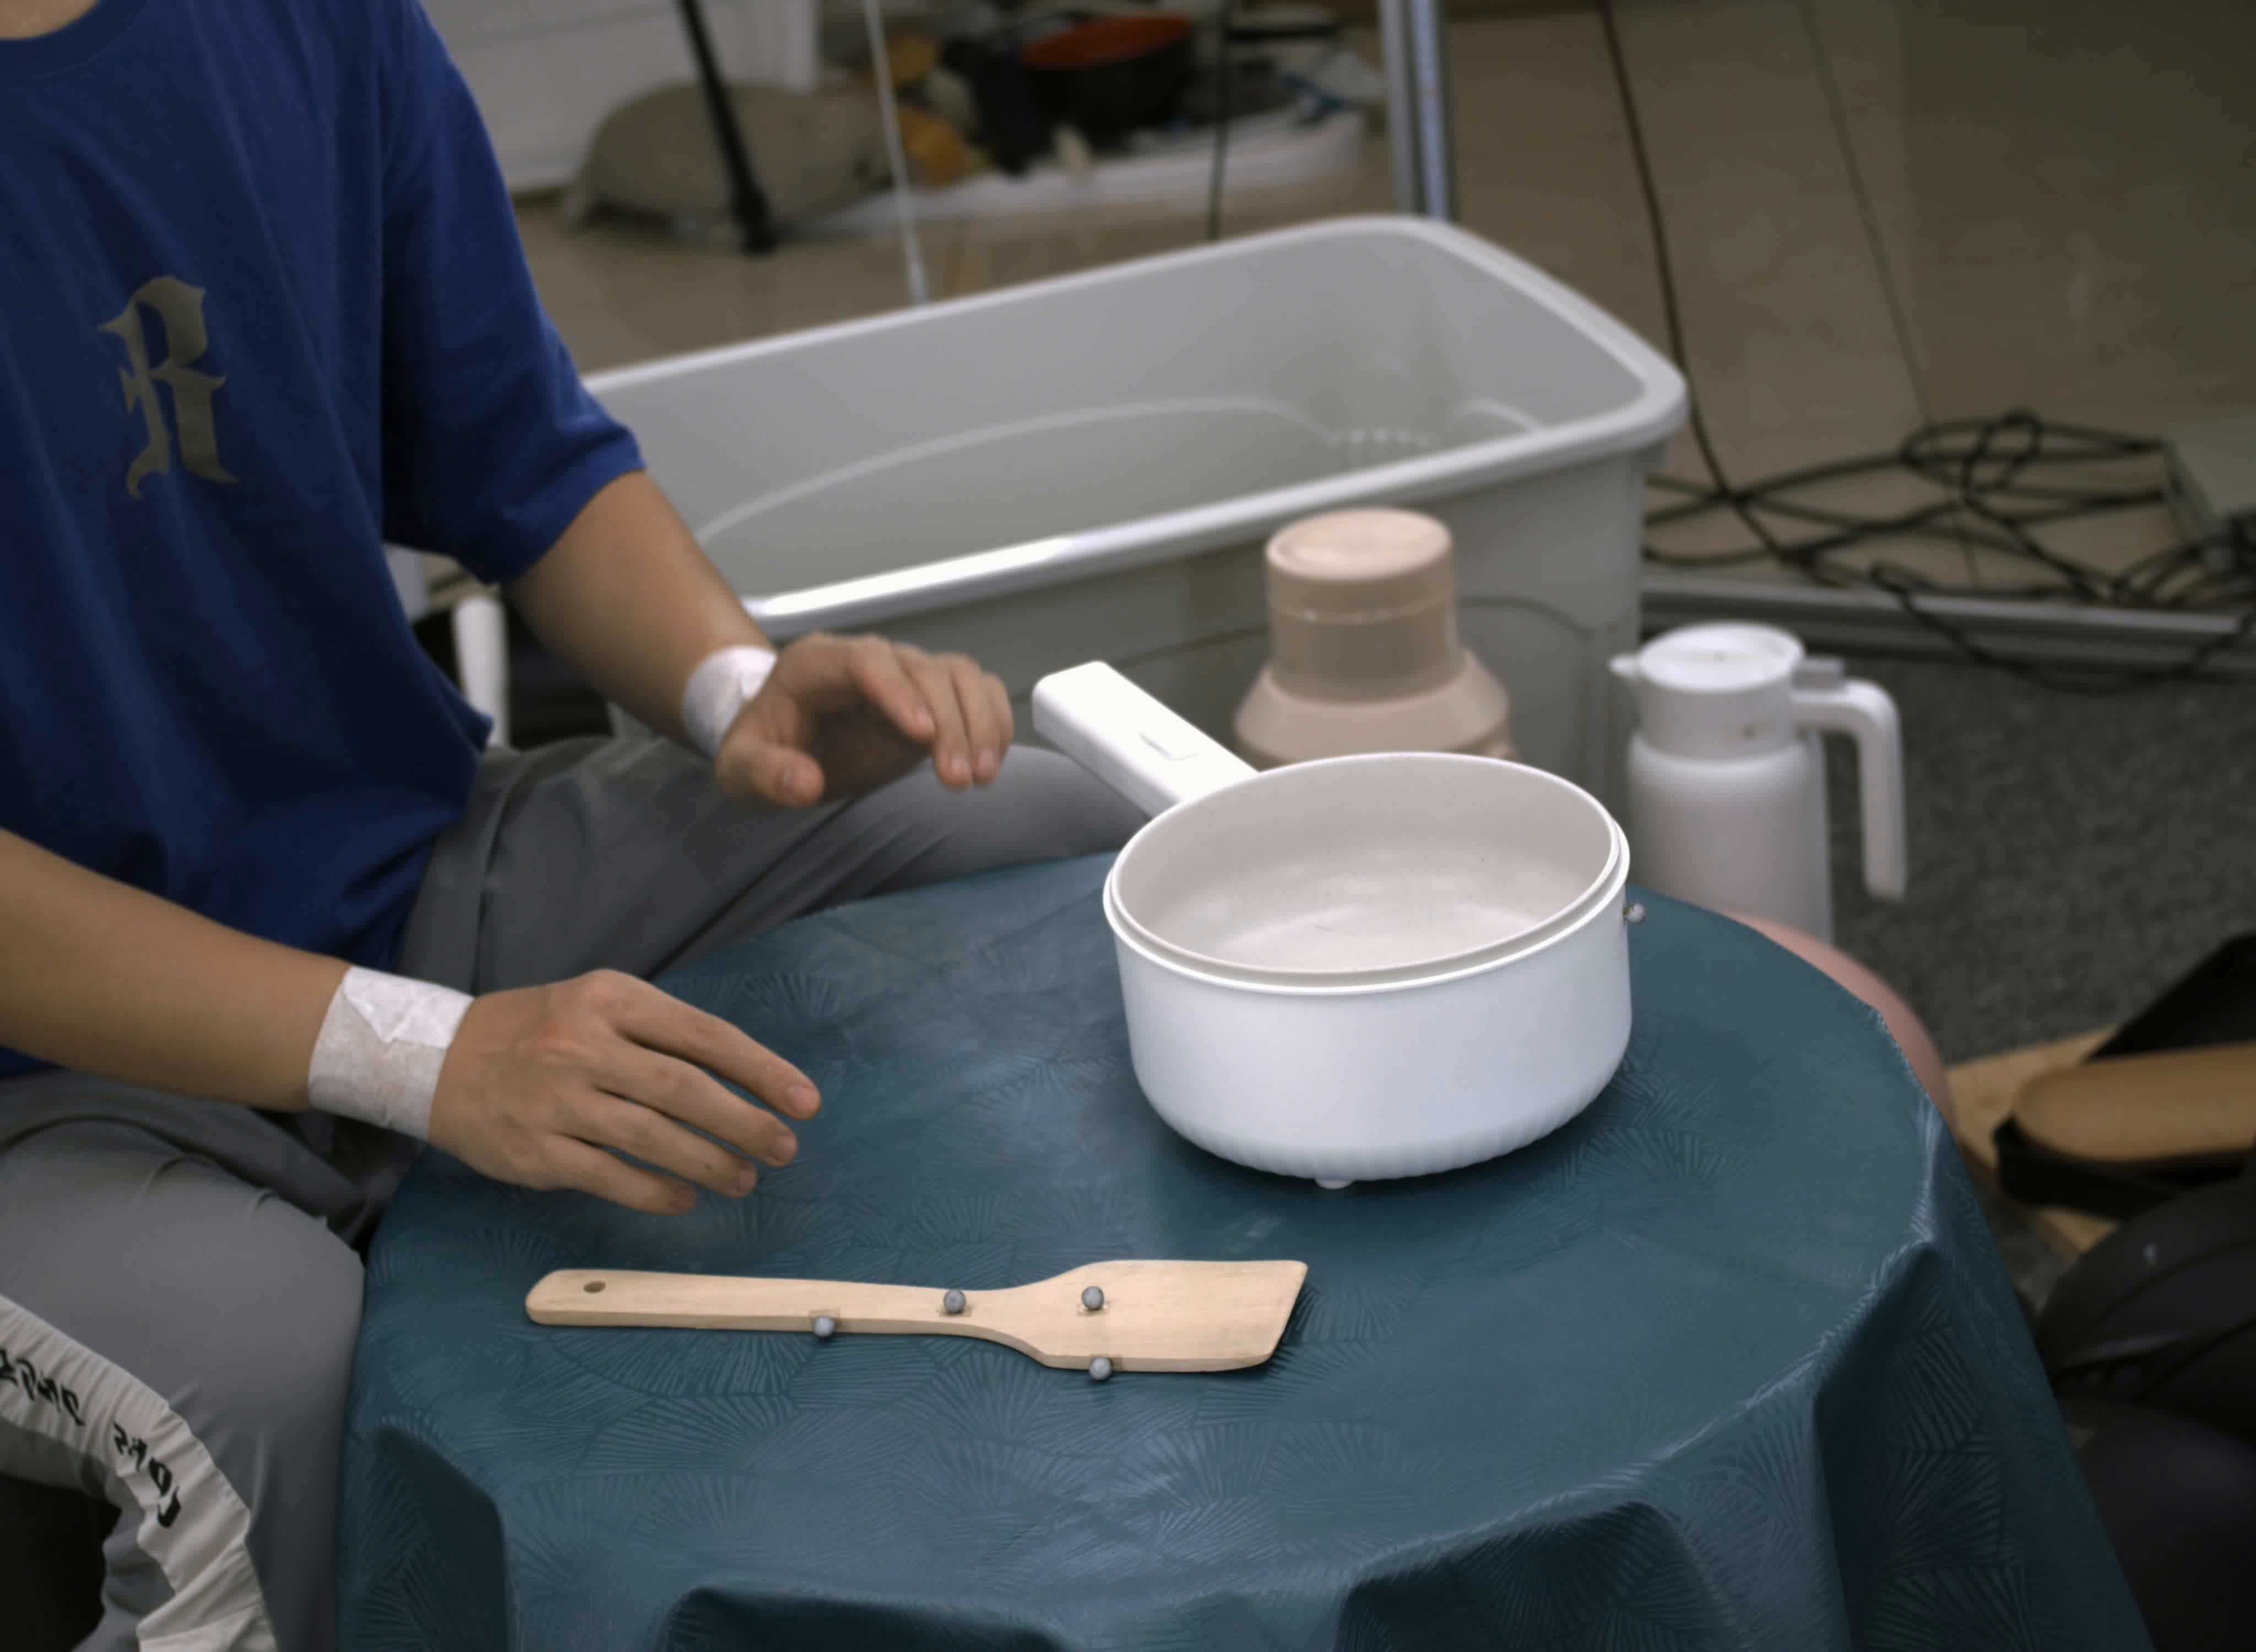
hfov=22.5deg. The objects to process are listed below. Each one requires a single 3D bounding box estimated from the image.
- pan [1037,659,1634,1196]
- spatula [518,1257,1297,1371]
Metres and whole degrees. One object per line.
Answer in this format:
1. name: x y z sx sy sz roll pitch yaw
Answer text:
1. pan: 0.061 0.034 2.241 0.200 0.104 0.350 -20 28 -21
2. spatula: -0.085 0.175 2.078 0.292 0.011 0.071 1 27 15
